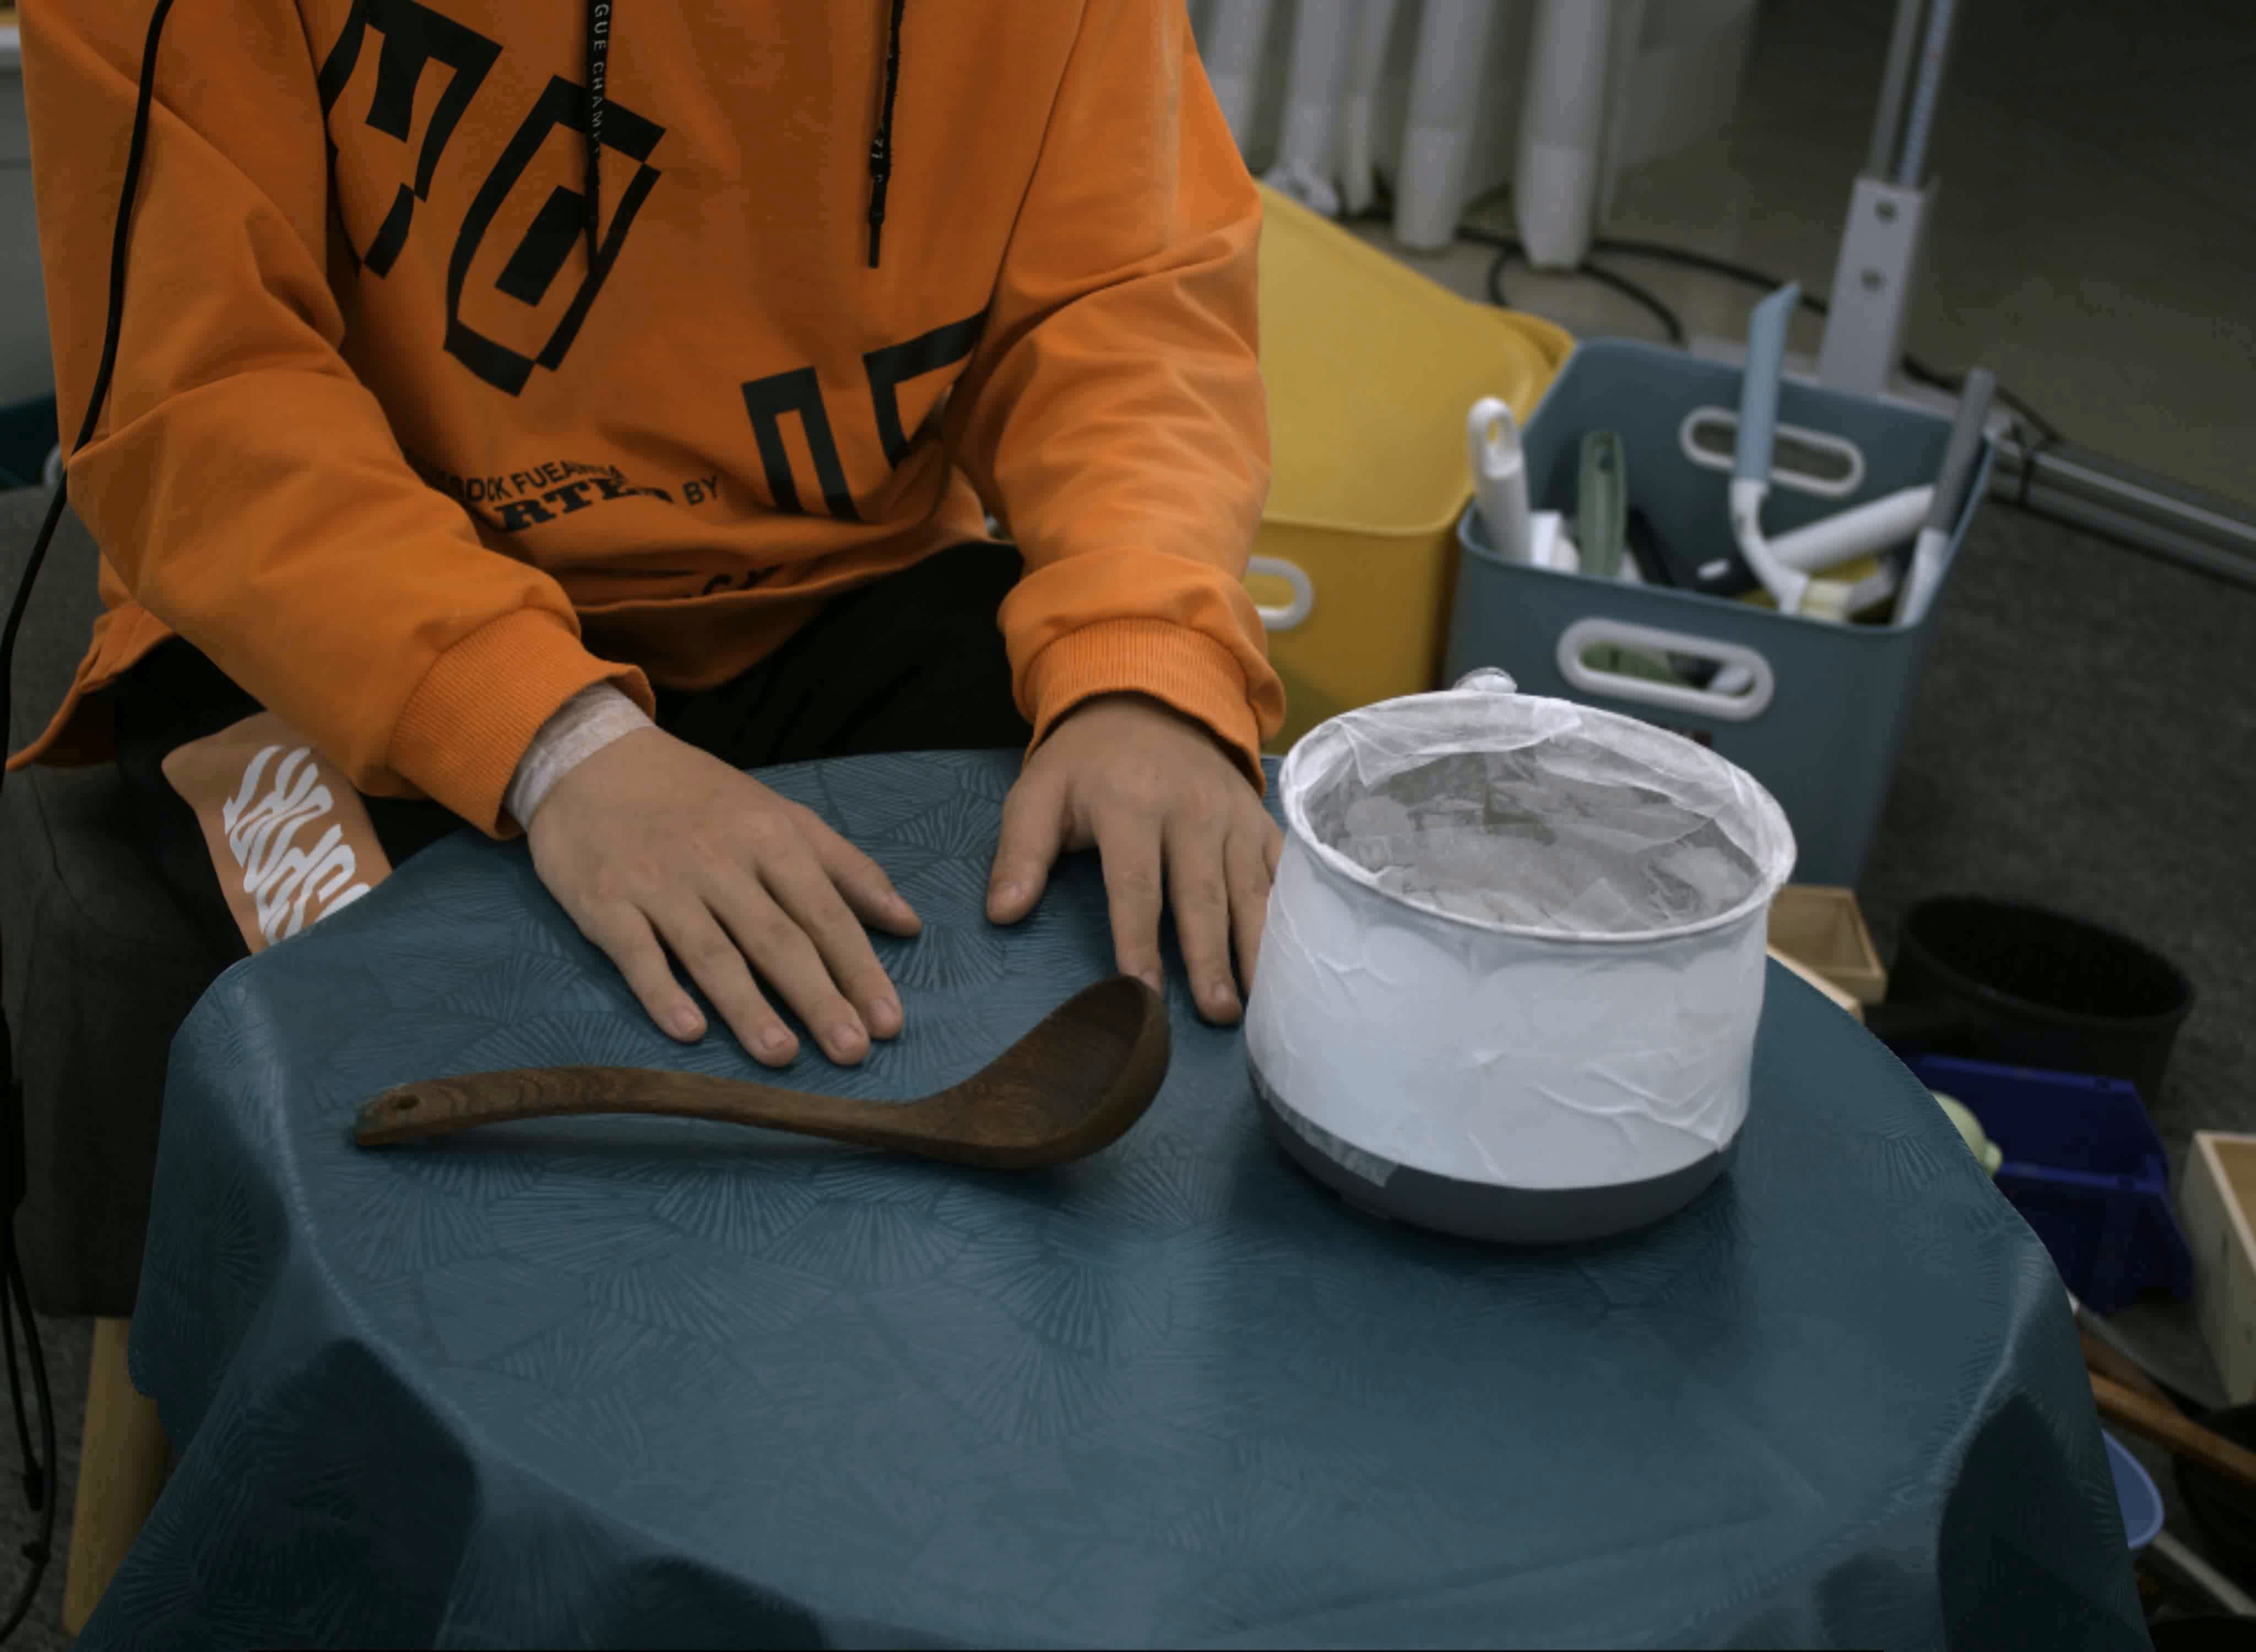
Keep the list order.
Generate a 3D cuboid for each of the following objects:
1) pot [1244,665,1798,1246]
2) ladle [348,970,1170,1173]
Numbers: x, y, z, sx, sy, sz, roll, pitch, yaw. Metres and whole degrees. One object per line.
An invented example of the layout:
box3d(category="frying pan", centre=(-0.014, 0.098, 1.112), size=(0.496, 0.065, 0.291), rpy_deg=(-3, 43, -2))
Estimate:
box3d(category="pot", centre=(0.128, 0.037, 1.849), size=(0.178, 0.136, 0.235), rpy_deg=(3, 27, -9))
box3d(category="ladle", centre=(-0.123, 0.078, 1.787), size=(0.273, 0.071, 0.076), rpy_deg=(3, 24, -8))
